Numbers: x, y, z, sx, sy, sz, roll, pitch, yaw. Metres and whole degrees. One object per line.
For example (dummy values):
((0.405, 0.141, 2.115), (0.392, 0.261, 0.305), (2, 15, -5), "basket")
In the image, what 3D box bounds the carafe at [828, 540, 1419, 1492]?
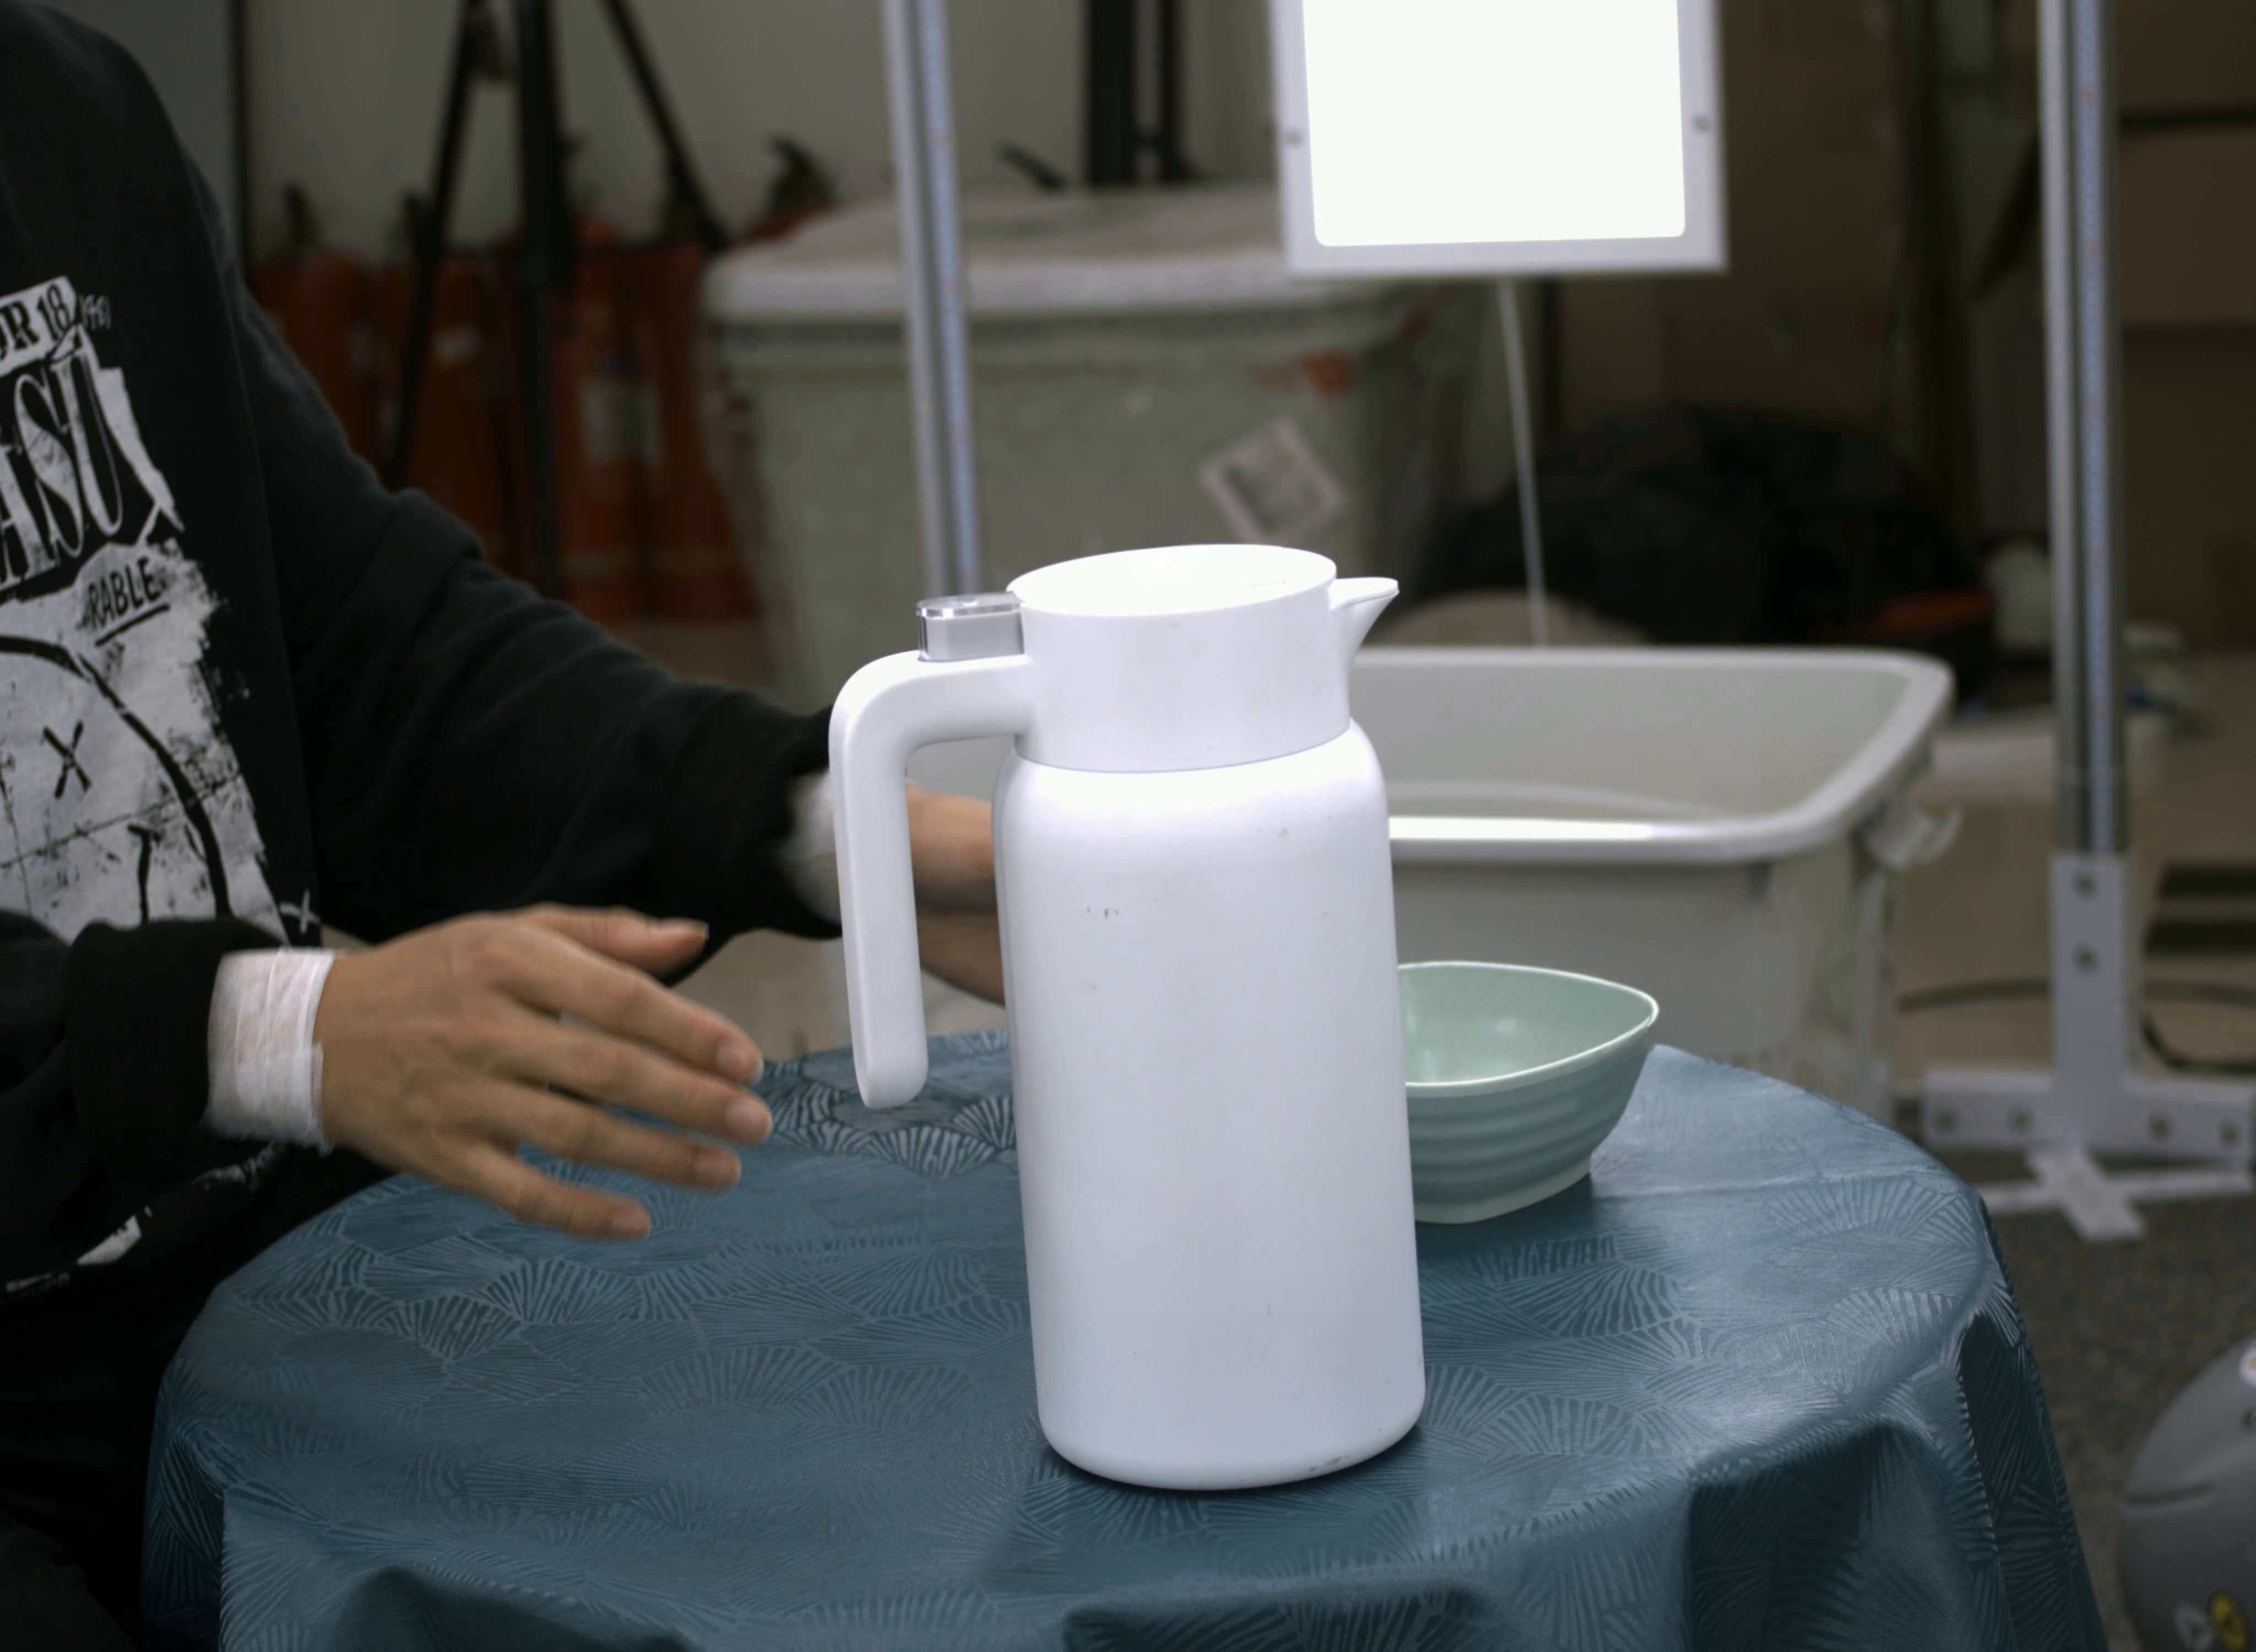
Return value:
((0.005, 0.057, 1.622), (0.171, 0.270, 0.124), (-7, 16, -10), "carafe")

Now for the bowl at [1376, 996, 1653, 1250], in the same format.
((0.109, 0.104, 1.868), (0.151, 0.059, 0.151), (-11, 11, 1), "bowl")
